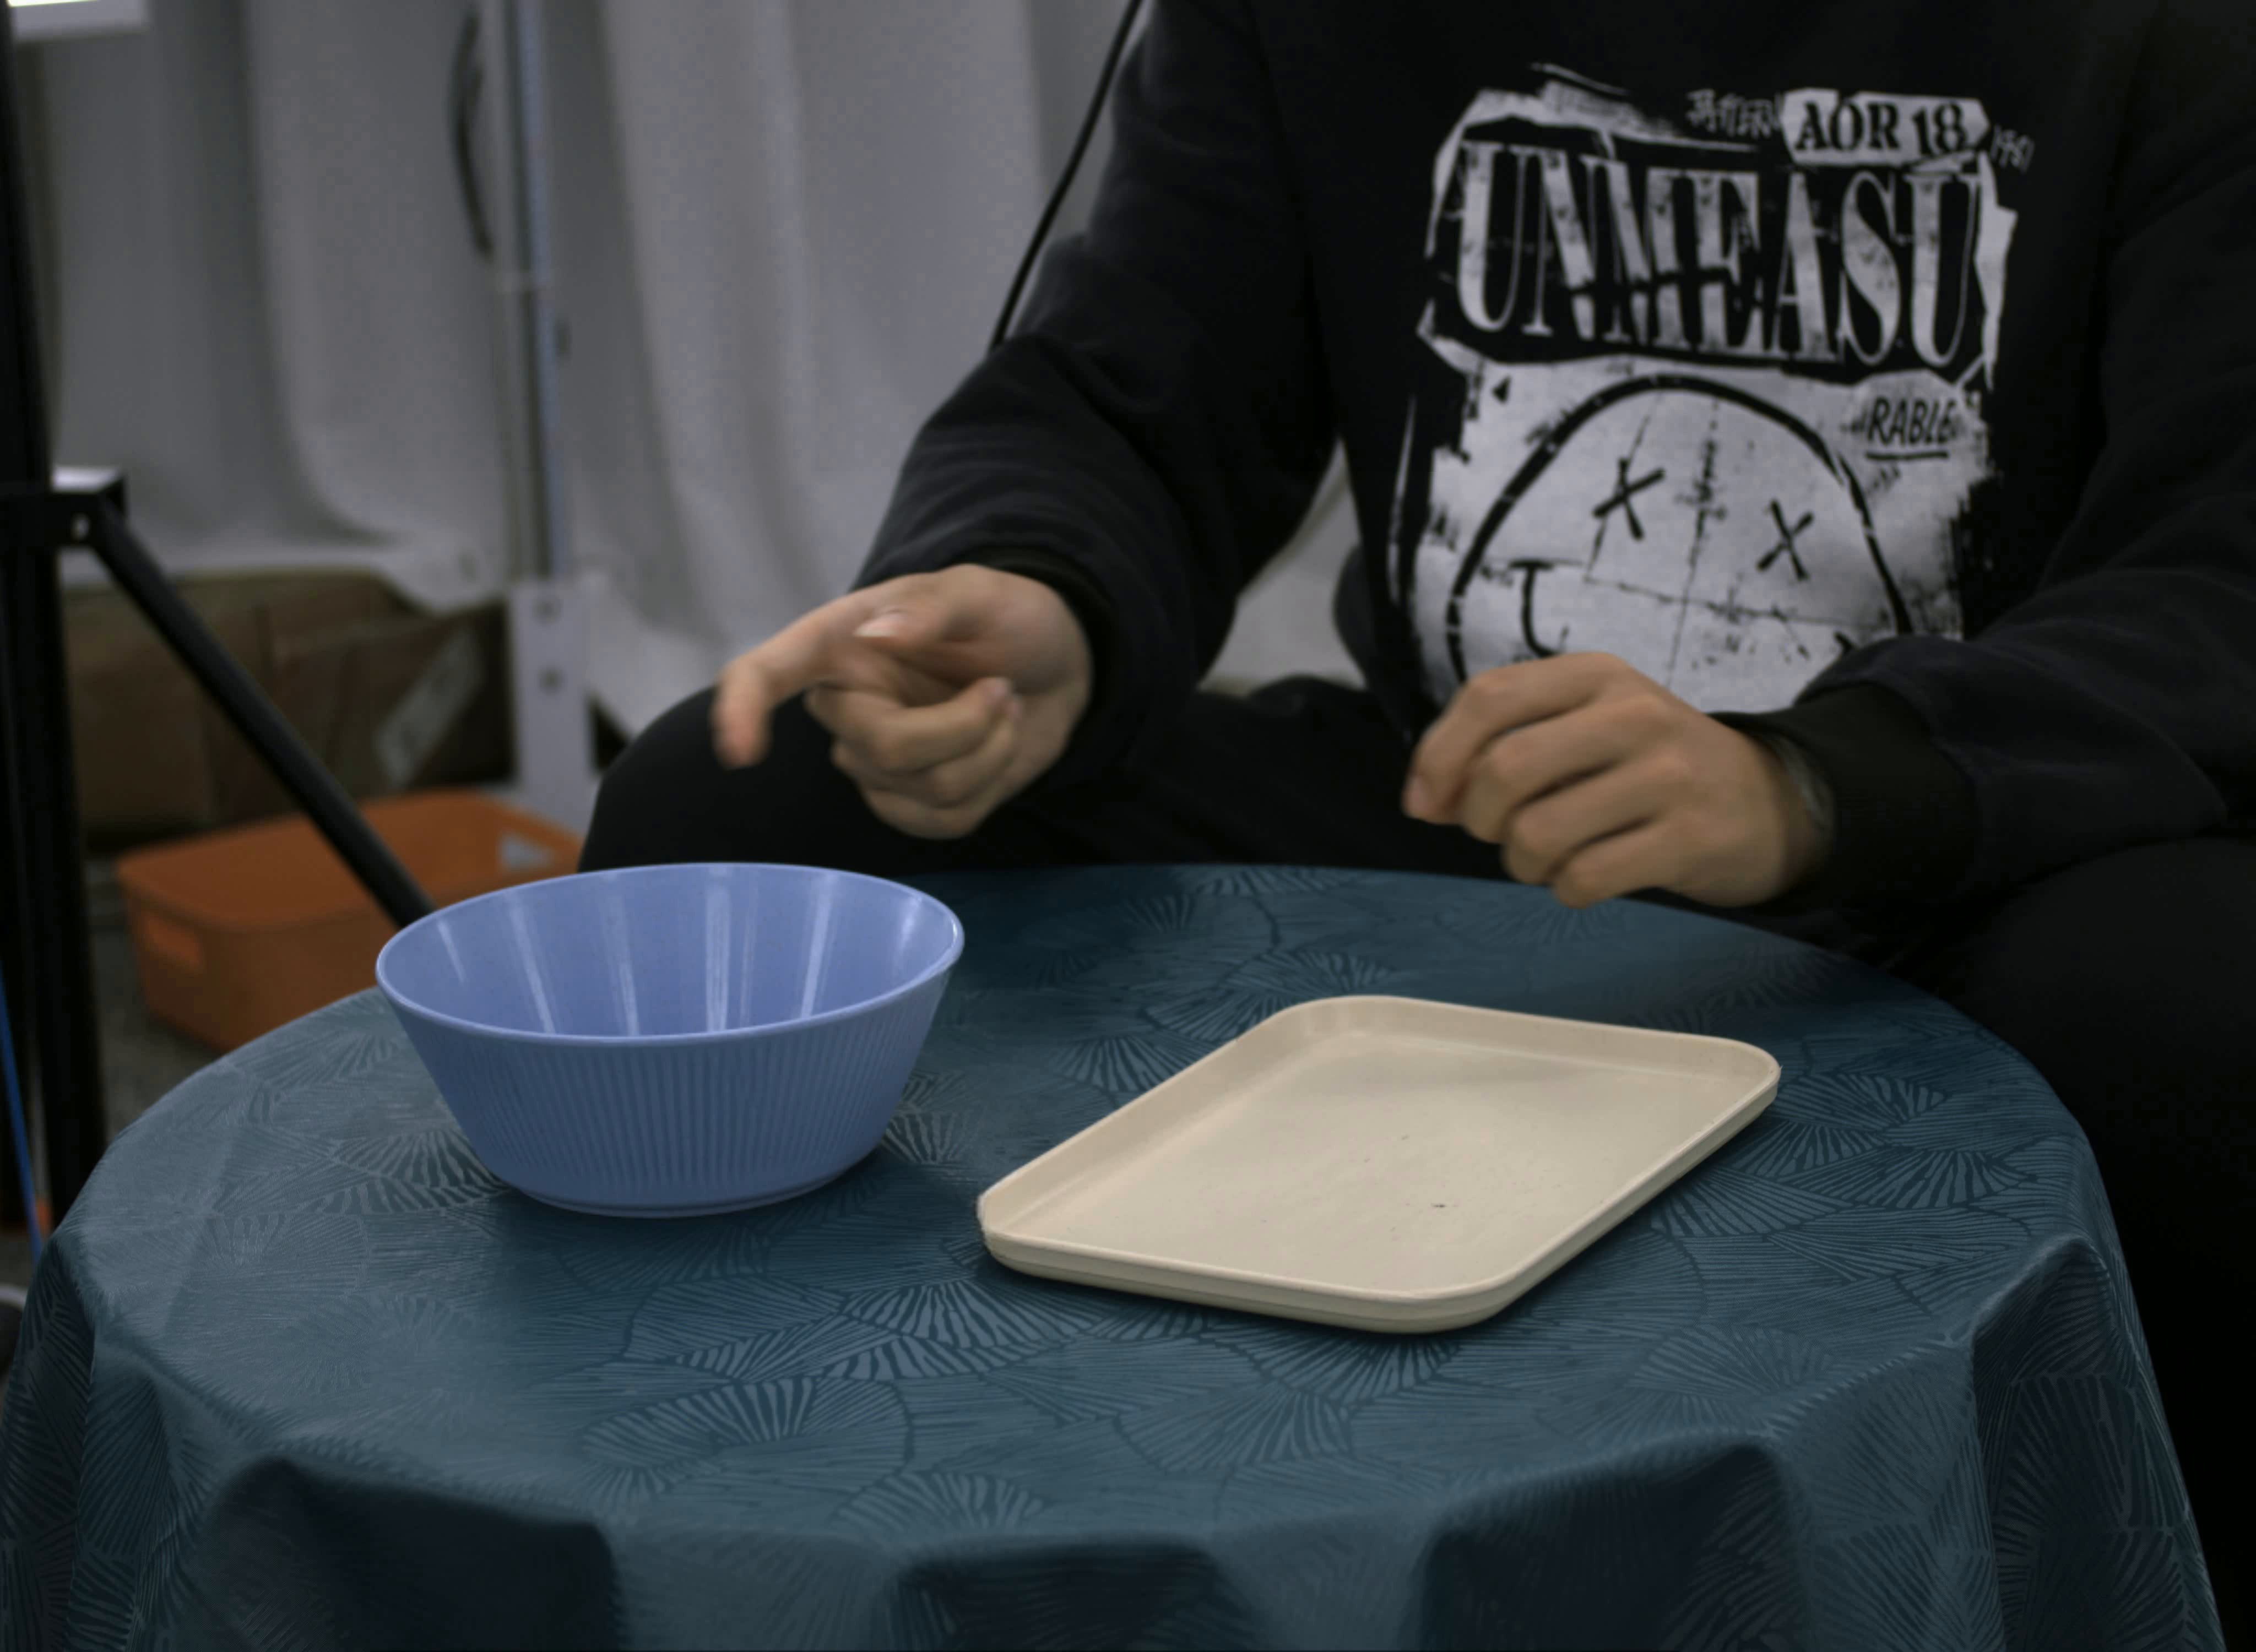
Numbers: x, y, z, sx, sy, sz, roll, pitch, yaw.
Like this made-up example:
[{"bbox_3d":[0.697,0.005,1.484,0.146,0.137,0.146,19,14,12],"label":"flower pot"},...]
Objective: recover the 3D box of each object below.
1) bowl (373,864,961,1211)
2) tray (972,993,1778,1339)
[{"bbox_3d":[-0.137,0.066,1.600,0.175,0.070,0.177,-2,16,-1],"label":"bowl"},{"bbox_3d":[0.076,0.098,1.549,0.174,0.017,0.235,7,19,30],"label":"tray"}]
